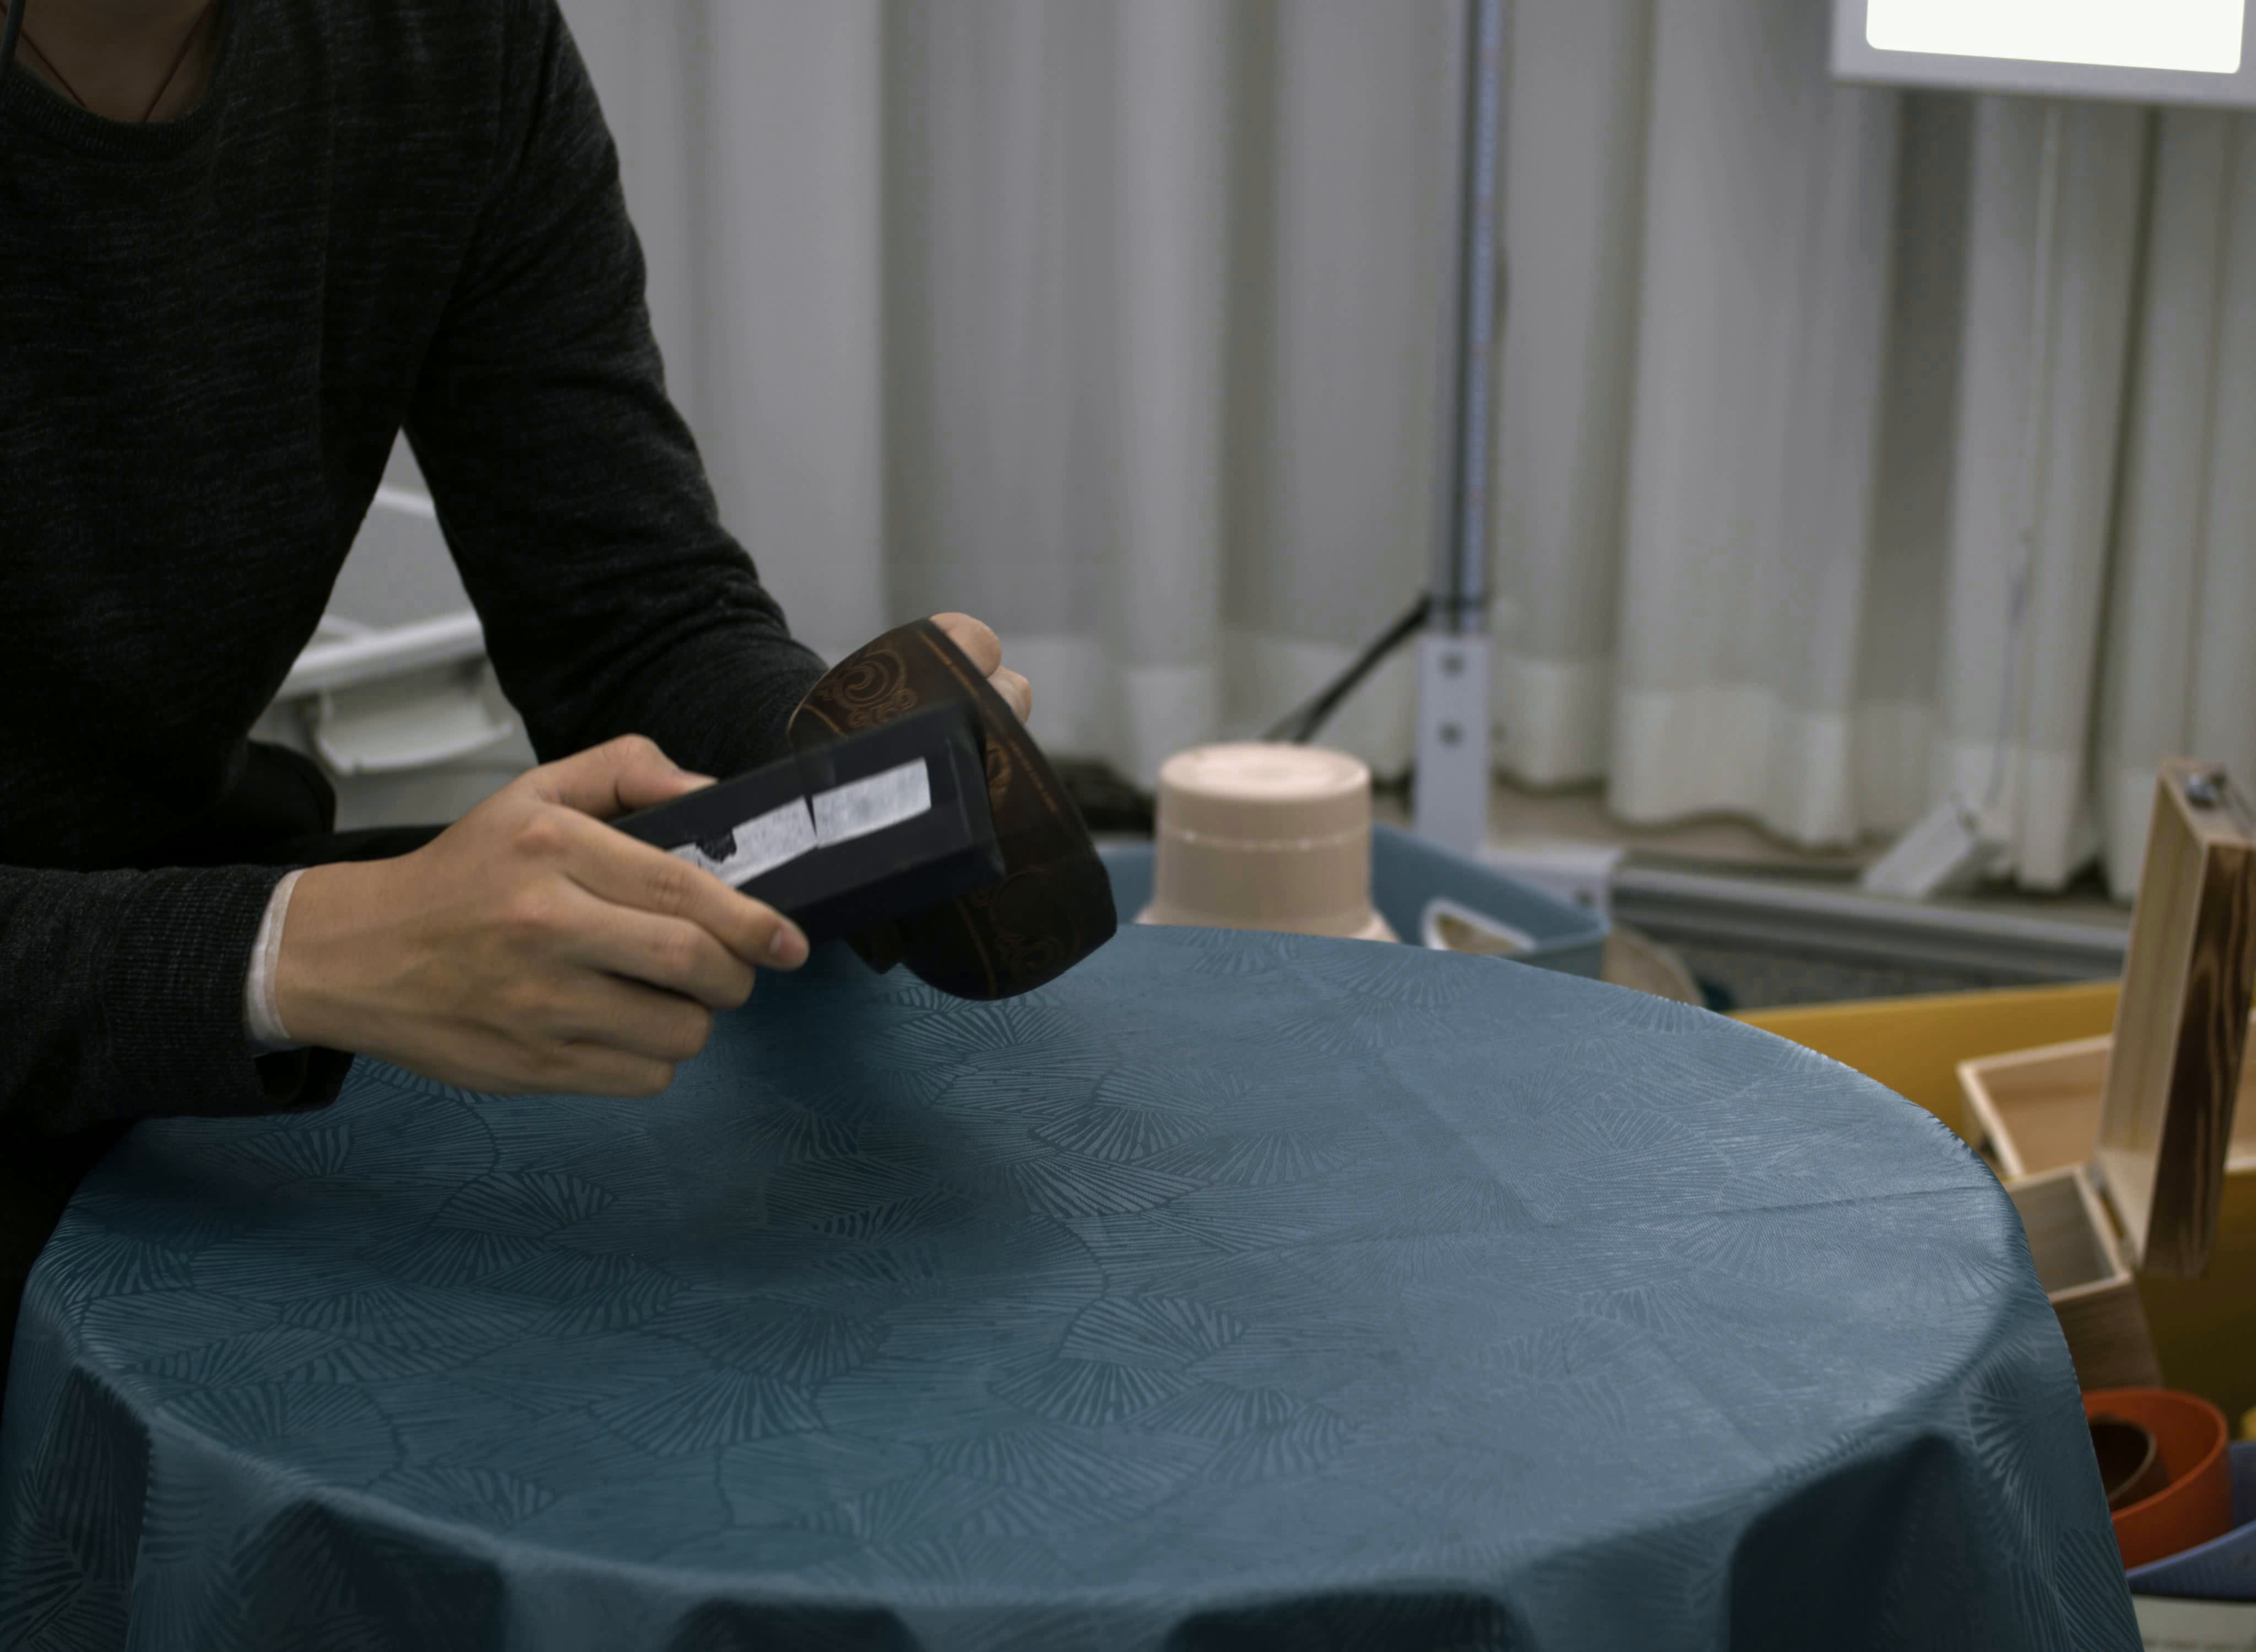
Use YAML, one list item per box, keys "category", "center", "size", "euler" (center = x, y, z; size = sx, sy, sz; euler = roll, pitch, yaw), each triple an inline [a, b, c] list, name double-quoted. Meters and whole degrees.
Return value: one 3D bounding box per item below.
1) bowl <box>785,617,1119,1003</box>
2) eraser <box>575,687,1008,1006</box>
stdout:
- category: "bowl"
  center: [-0.063, 0.003, 1.595]
  size: [0.070, 0.119, 0.116]
  euler: [-34, 26, -13]
- category: "eraser"
  center: [-0.098, 0.006, 1.530]
  size: [0.125, 0.053, 0.031]
  euler: [-21, -27, 13]
